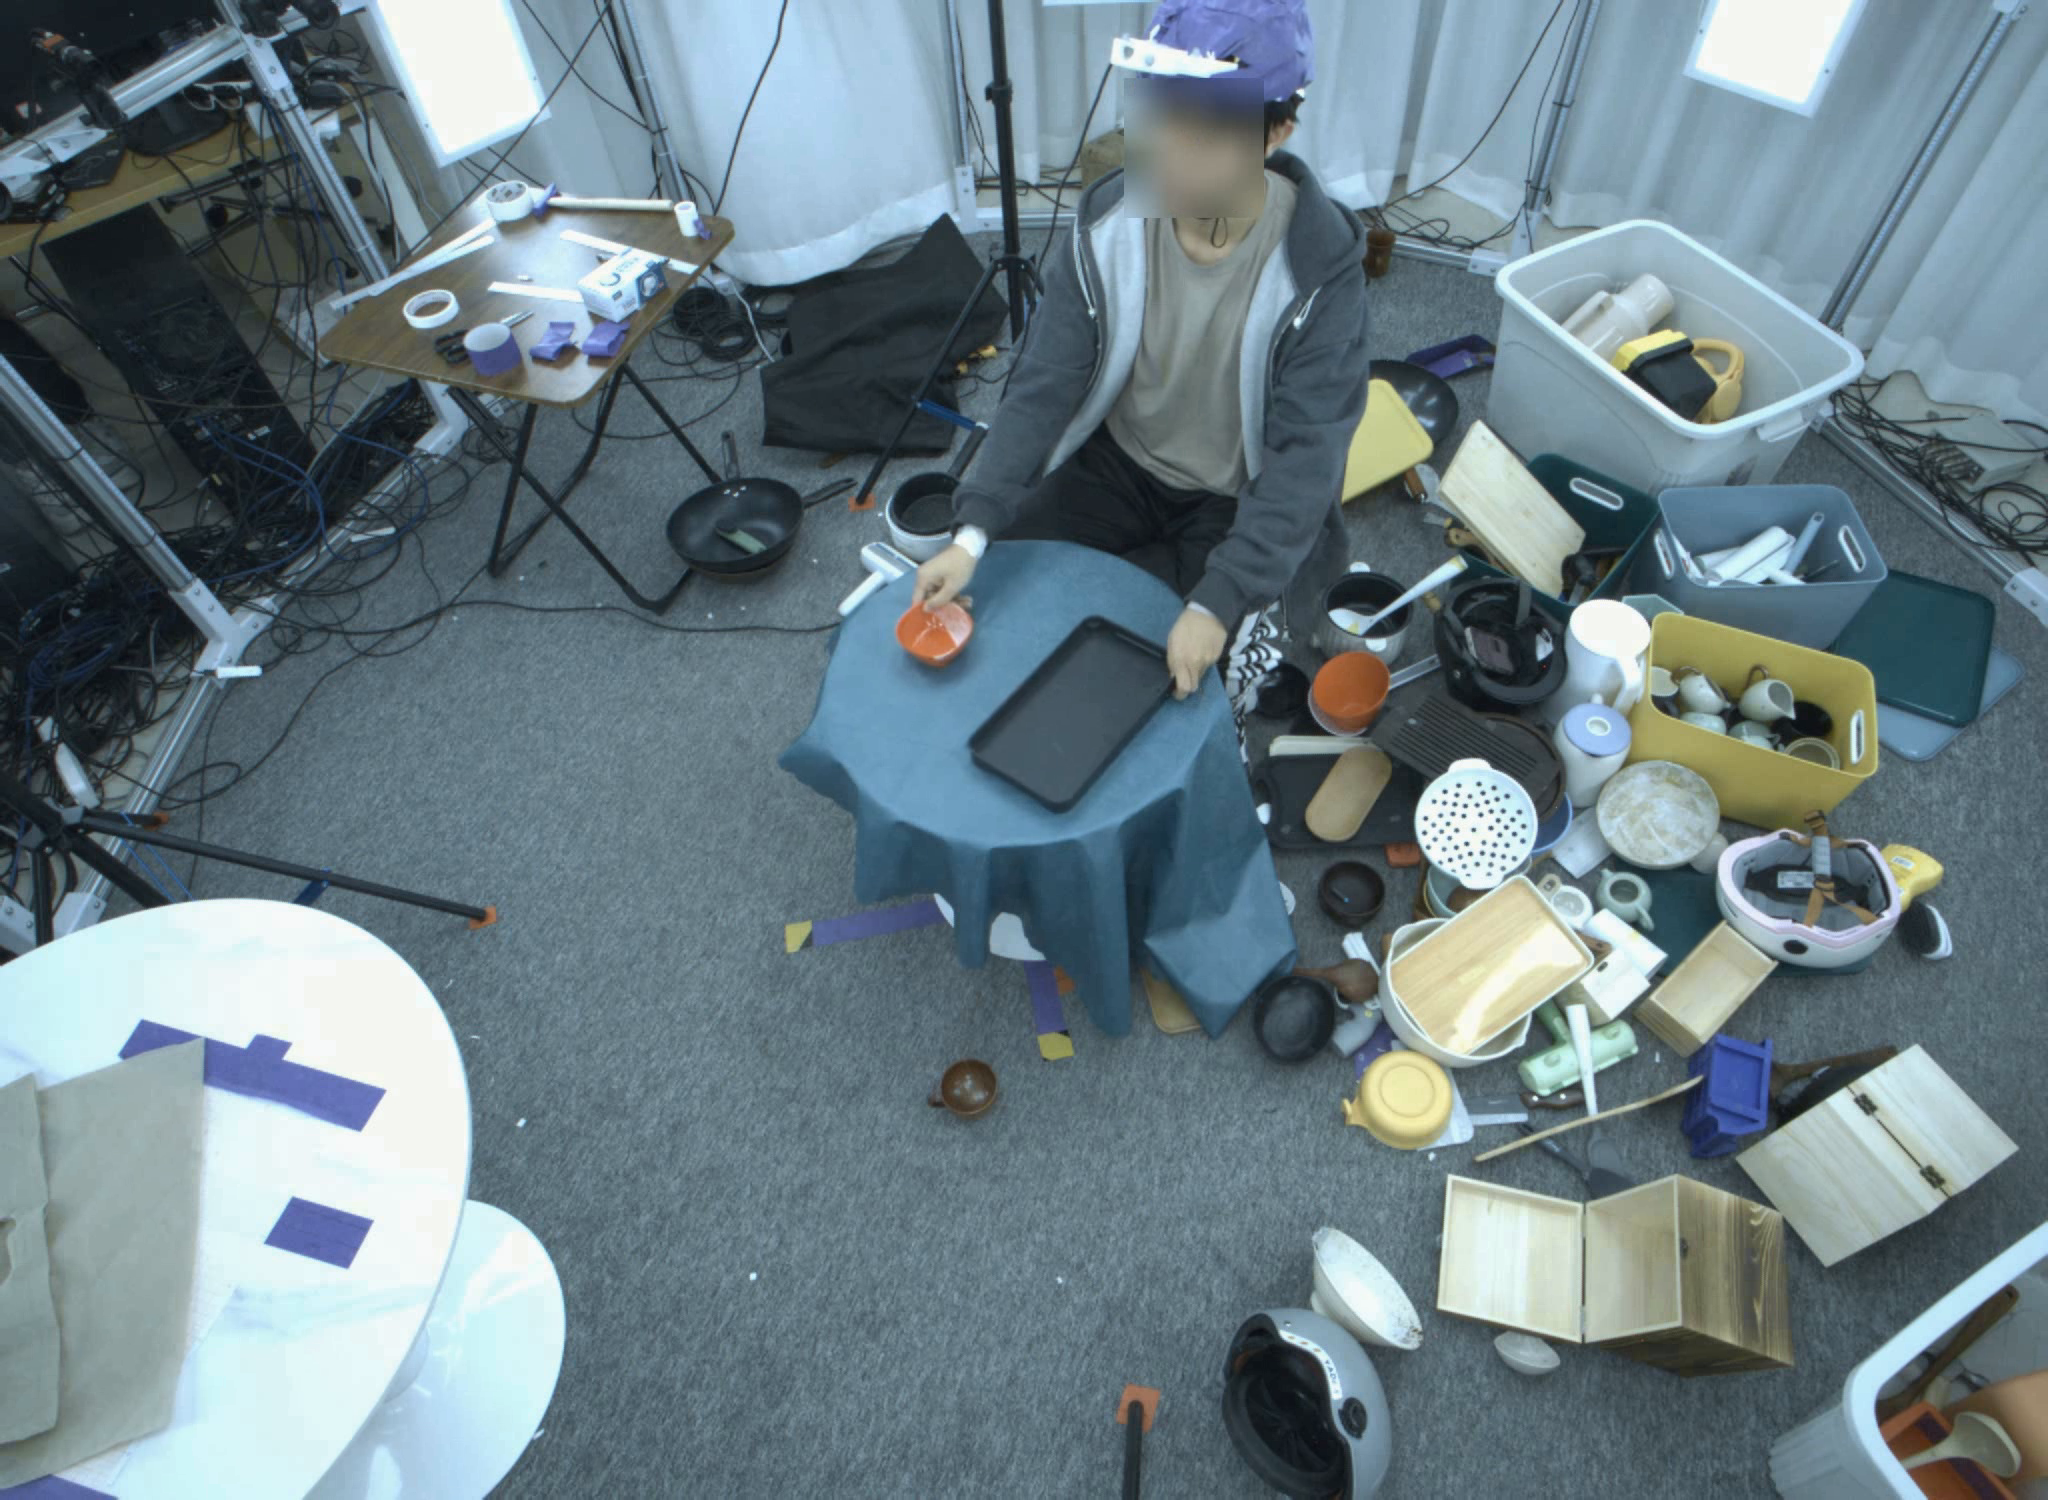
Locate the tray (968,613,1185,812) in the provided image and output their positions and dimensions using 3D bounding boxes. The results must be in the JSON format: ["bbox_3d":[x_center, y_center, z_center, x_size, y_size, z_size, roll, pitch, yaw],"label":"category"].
[{"bbox_3d":[0.080,-0.061,1.806,0.181,0.037,0.319,31,62,22],"label":"tray"}]

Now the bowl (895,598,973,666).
[{"bbox_3d":[-0.136,-0.174,1.883,0.119,0.052,0.118,-1,56,2],"label":"bowl"}]
